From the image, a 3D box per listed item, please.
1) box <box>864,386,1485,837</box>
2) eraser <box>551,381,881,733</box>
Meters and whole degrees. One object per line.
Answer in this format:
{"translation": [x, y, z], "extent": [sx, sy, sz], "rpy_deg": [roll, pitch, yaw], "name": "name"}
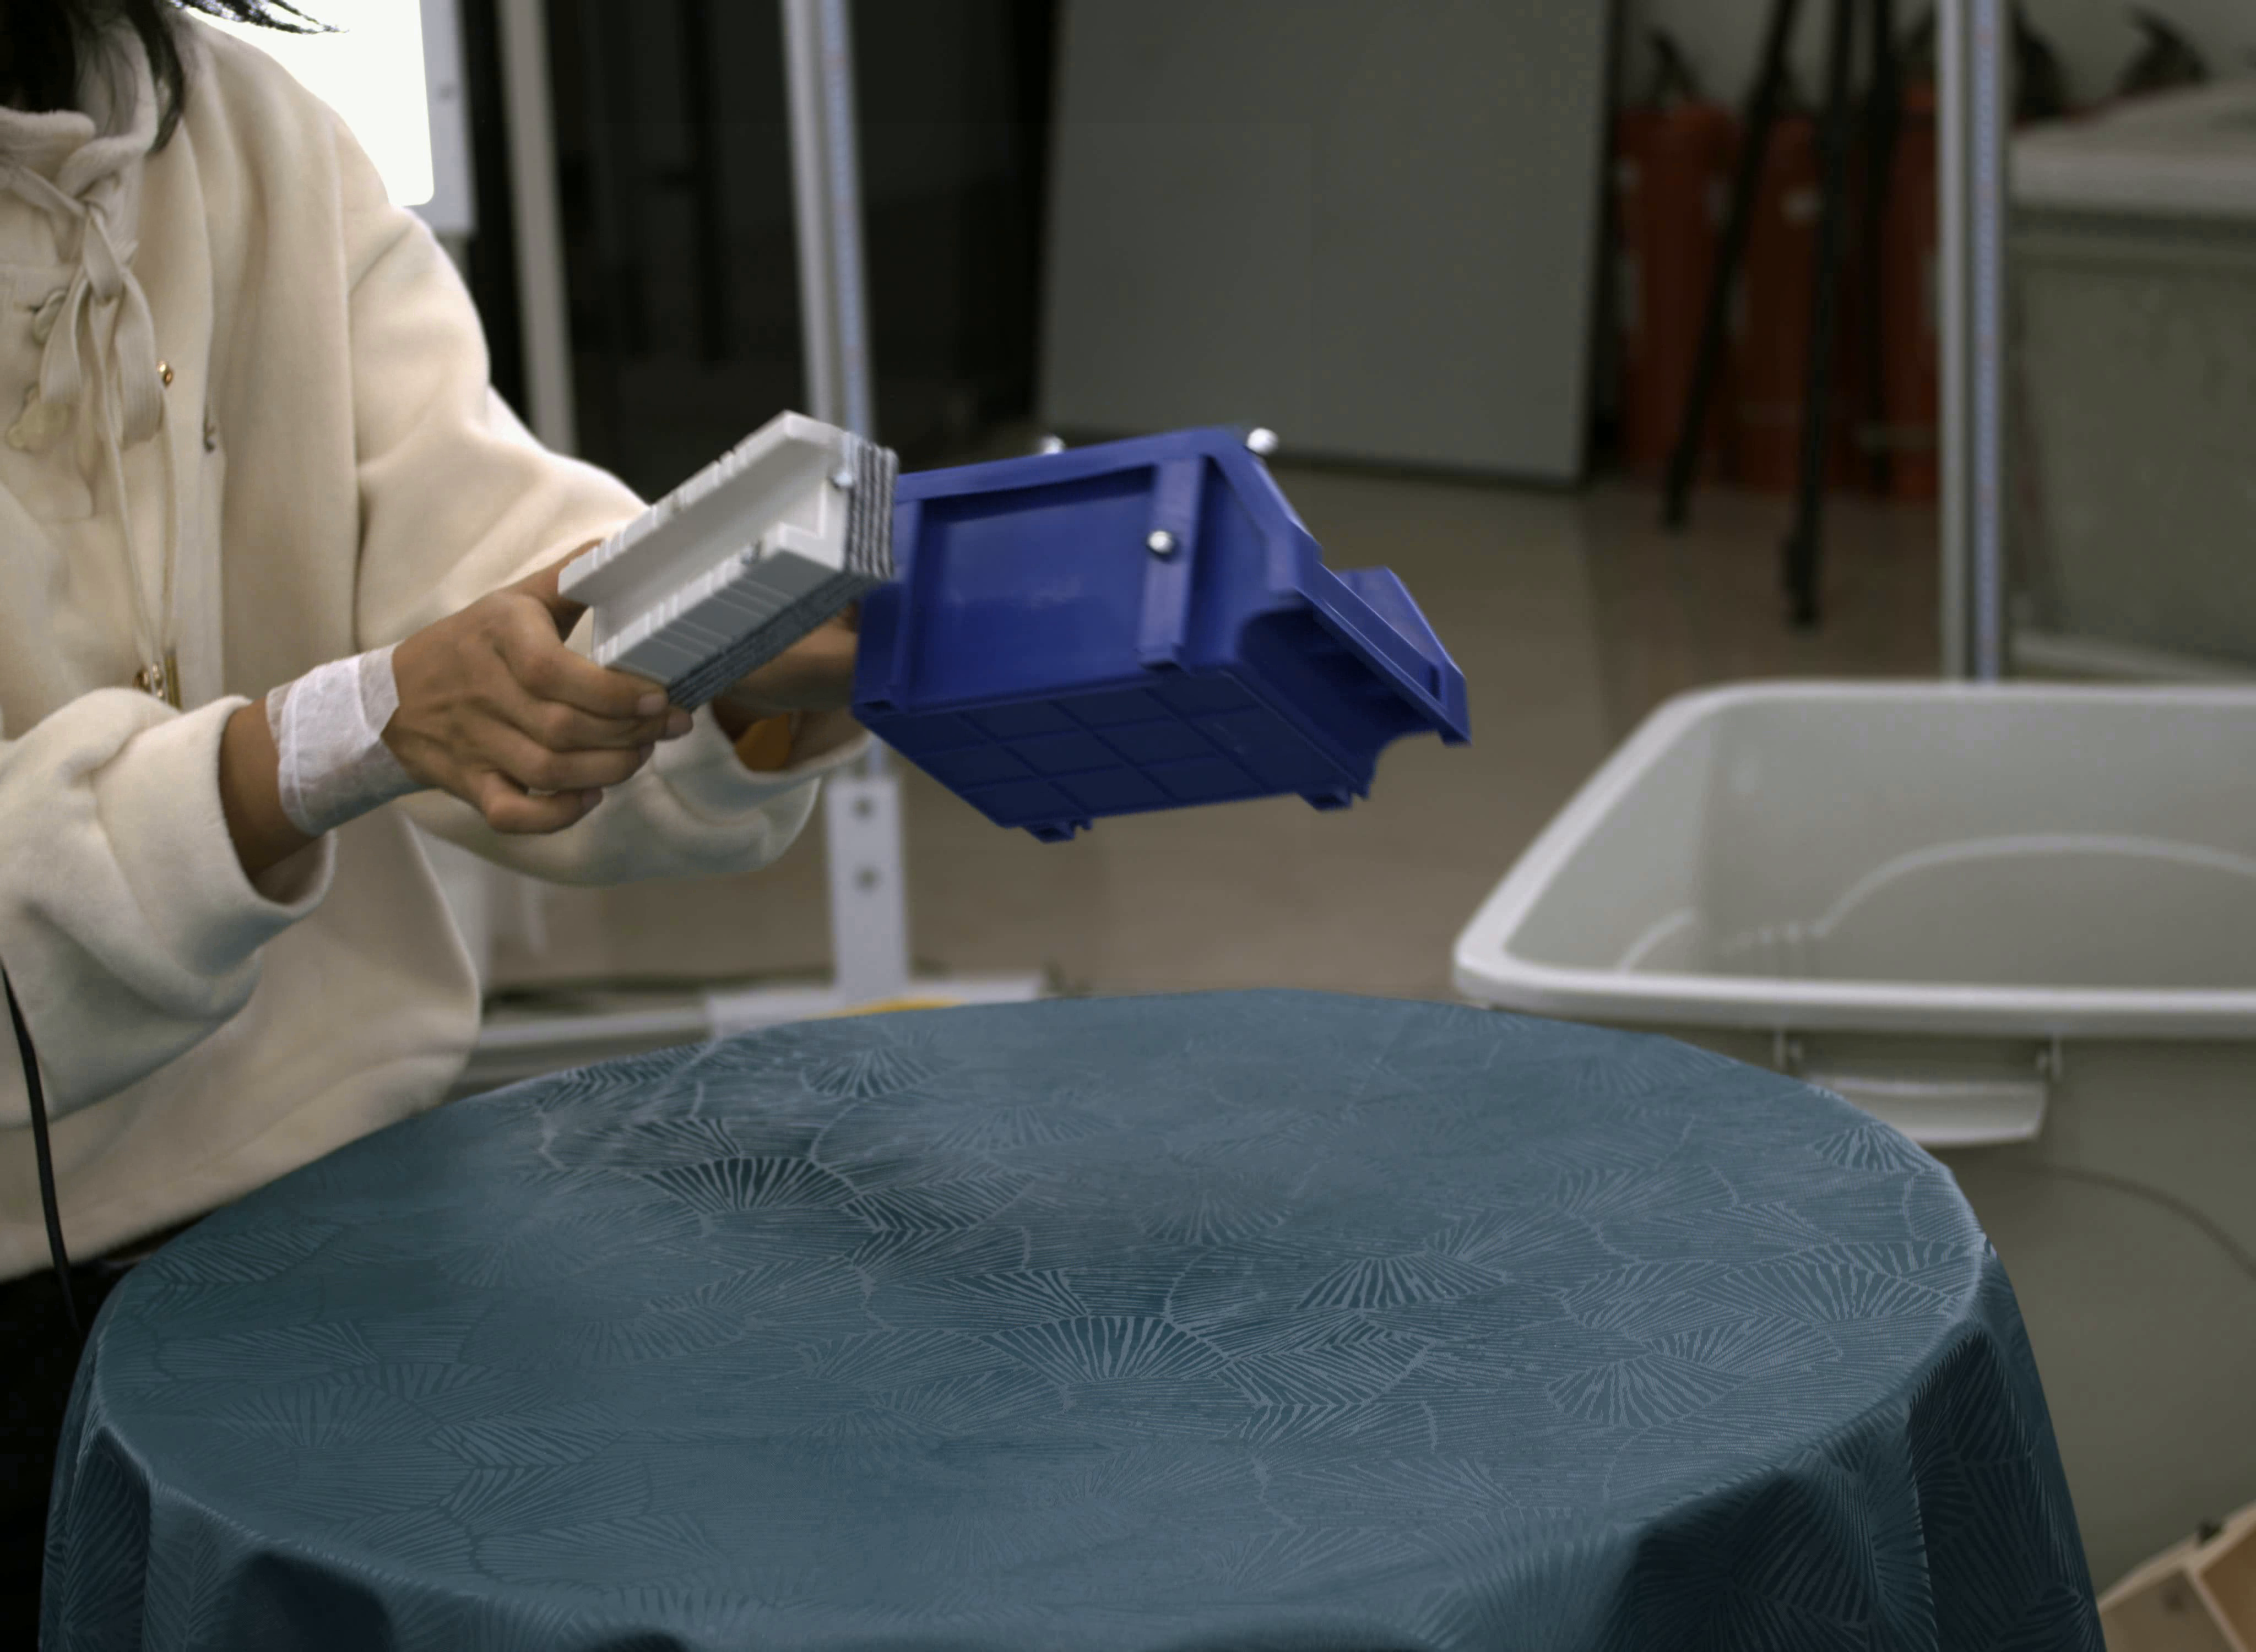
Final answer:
{"translation": [0.010, -0.066, 1.716], "extent": [0.180, 0.083, 0.122], "rpy_deg": [-12, -29, 32], "name": "box"}
{"translation": [-0.129, -0.081, 1.687], "extent": [0.045, 0.050, 0.135], "rpy_deg": [17, -33, -31], "name": "eraser"}
